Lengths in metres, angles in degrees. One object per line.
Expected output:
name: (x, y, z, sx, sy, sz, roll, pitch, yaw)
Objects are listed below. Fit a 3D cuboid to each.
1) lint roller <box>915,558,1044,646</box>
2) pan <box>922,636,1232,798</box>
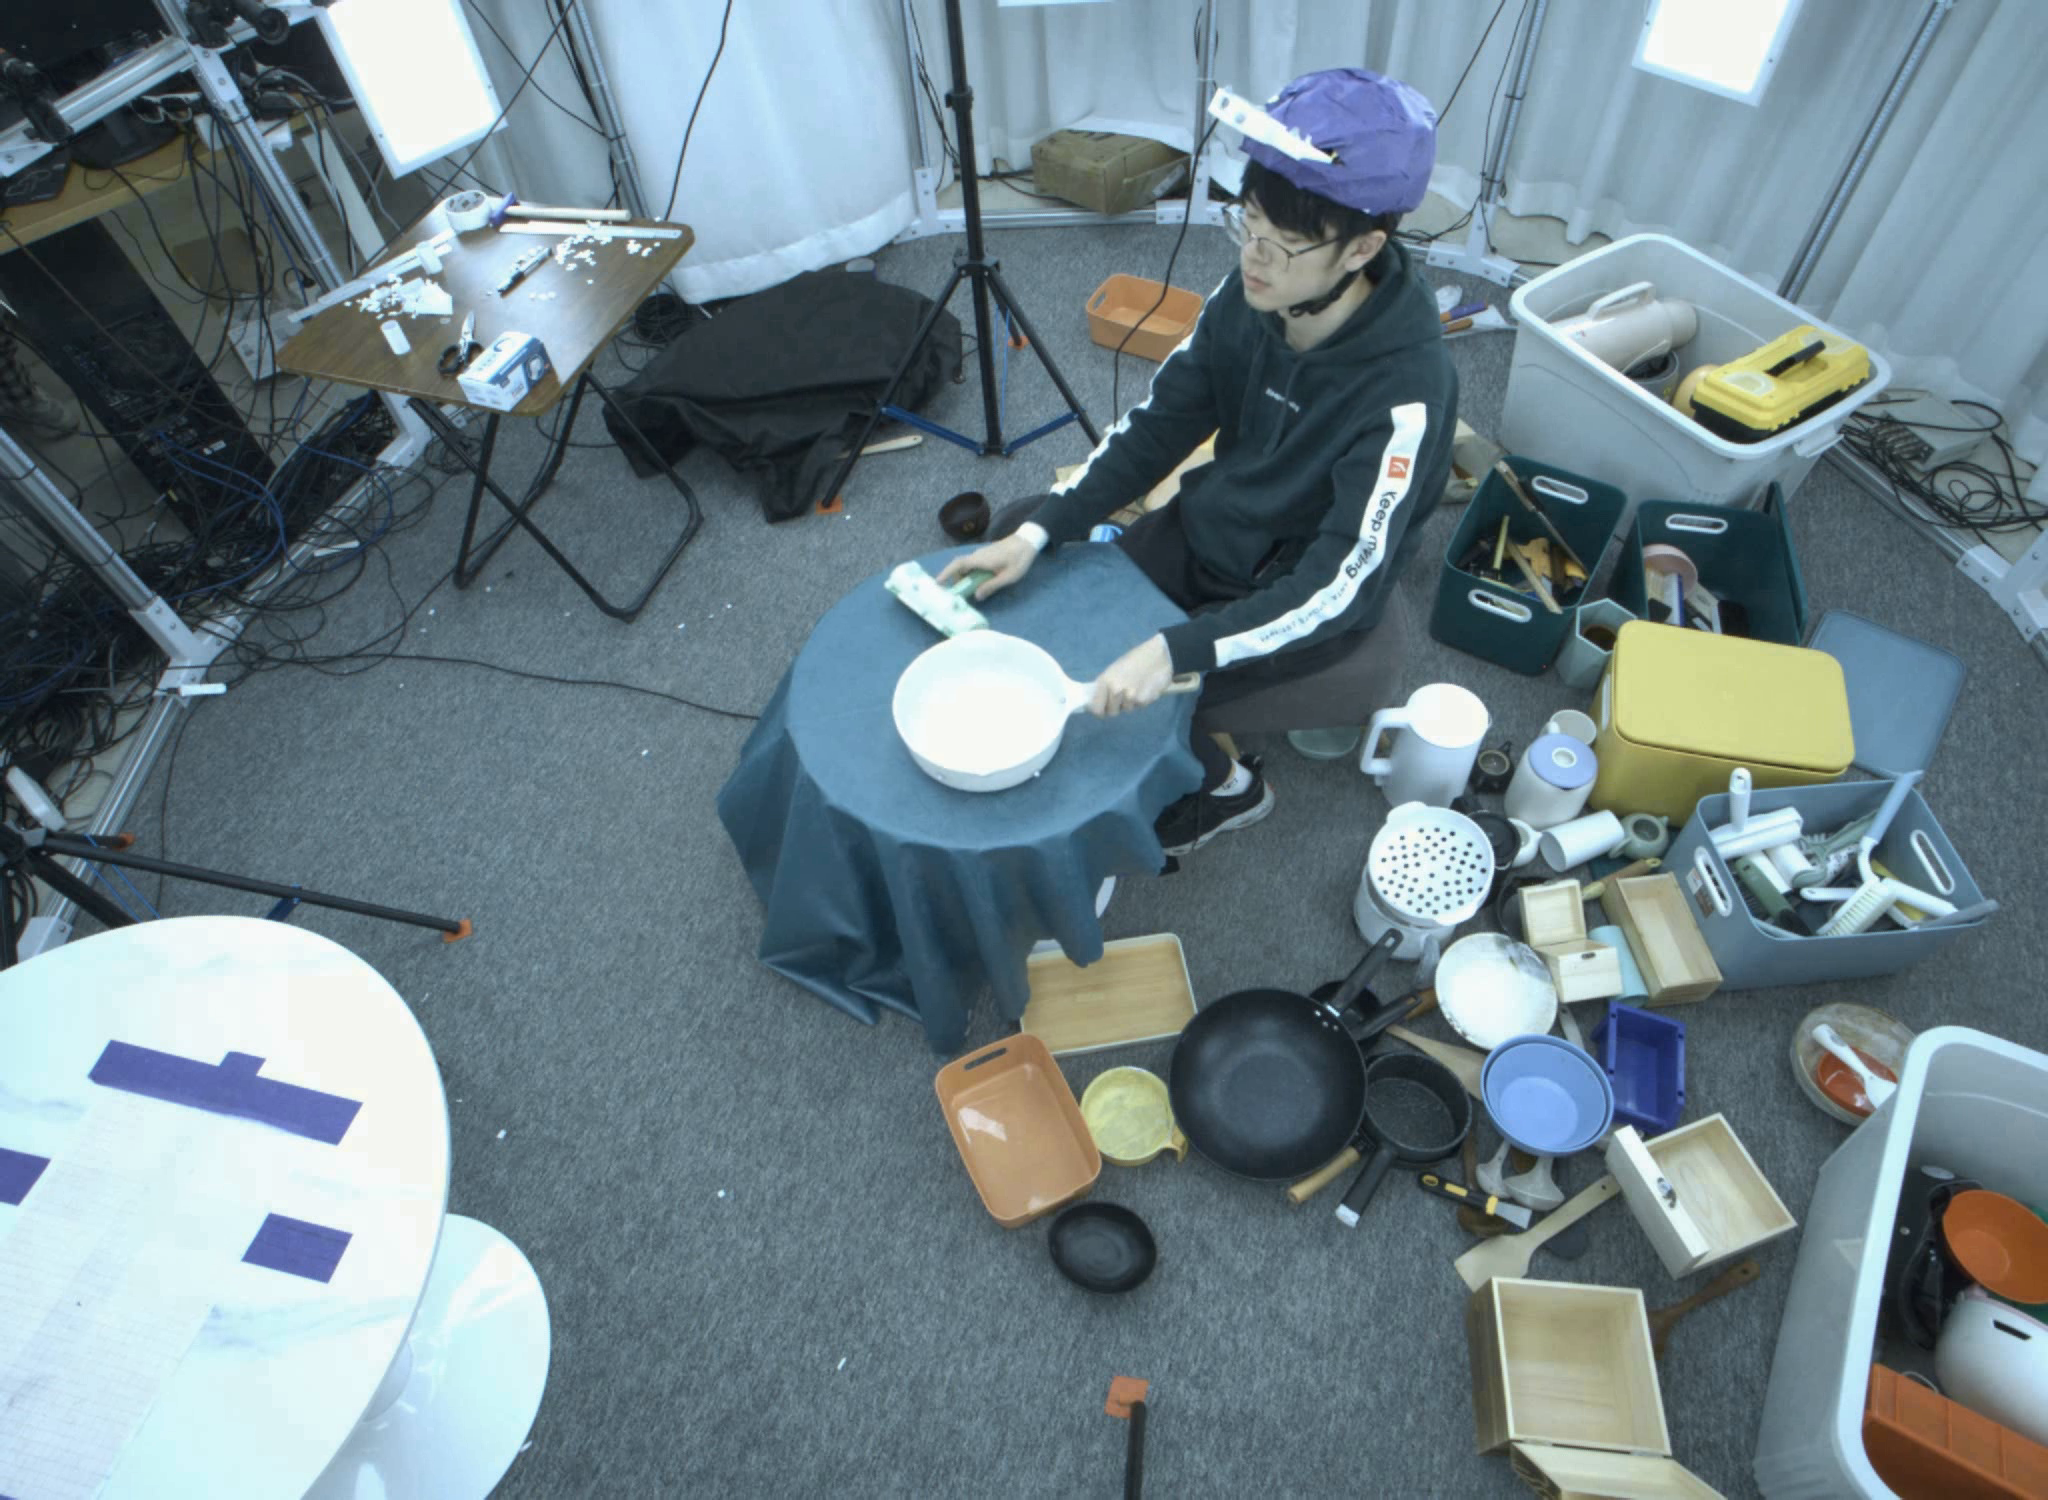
lint roller: (-0.047, -0.262, 1.910, 0.184, 0.083, 0.194, -39, 58, -14)
pan: (0.075, -0.048, 1.753, 0.435, 0.103, 0.260, -2, 53, 0)
